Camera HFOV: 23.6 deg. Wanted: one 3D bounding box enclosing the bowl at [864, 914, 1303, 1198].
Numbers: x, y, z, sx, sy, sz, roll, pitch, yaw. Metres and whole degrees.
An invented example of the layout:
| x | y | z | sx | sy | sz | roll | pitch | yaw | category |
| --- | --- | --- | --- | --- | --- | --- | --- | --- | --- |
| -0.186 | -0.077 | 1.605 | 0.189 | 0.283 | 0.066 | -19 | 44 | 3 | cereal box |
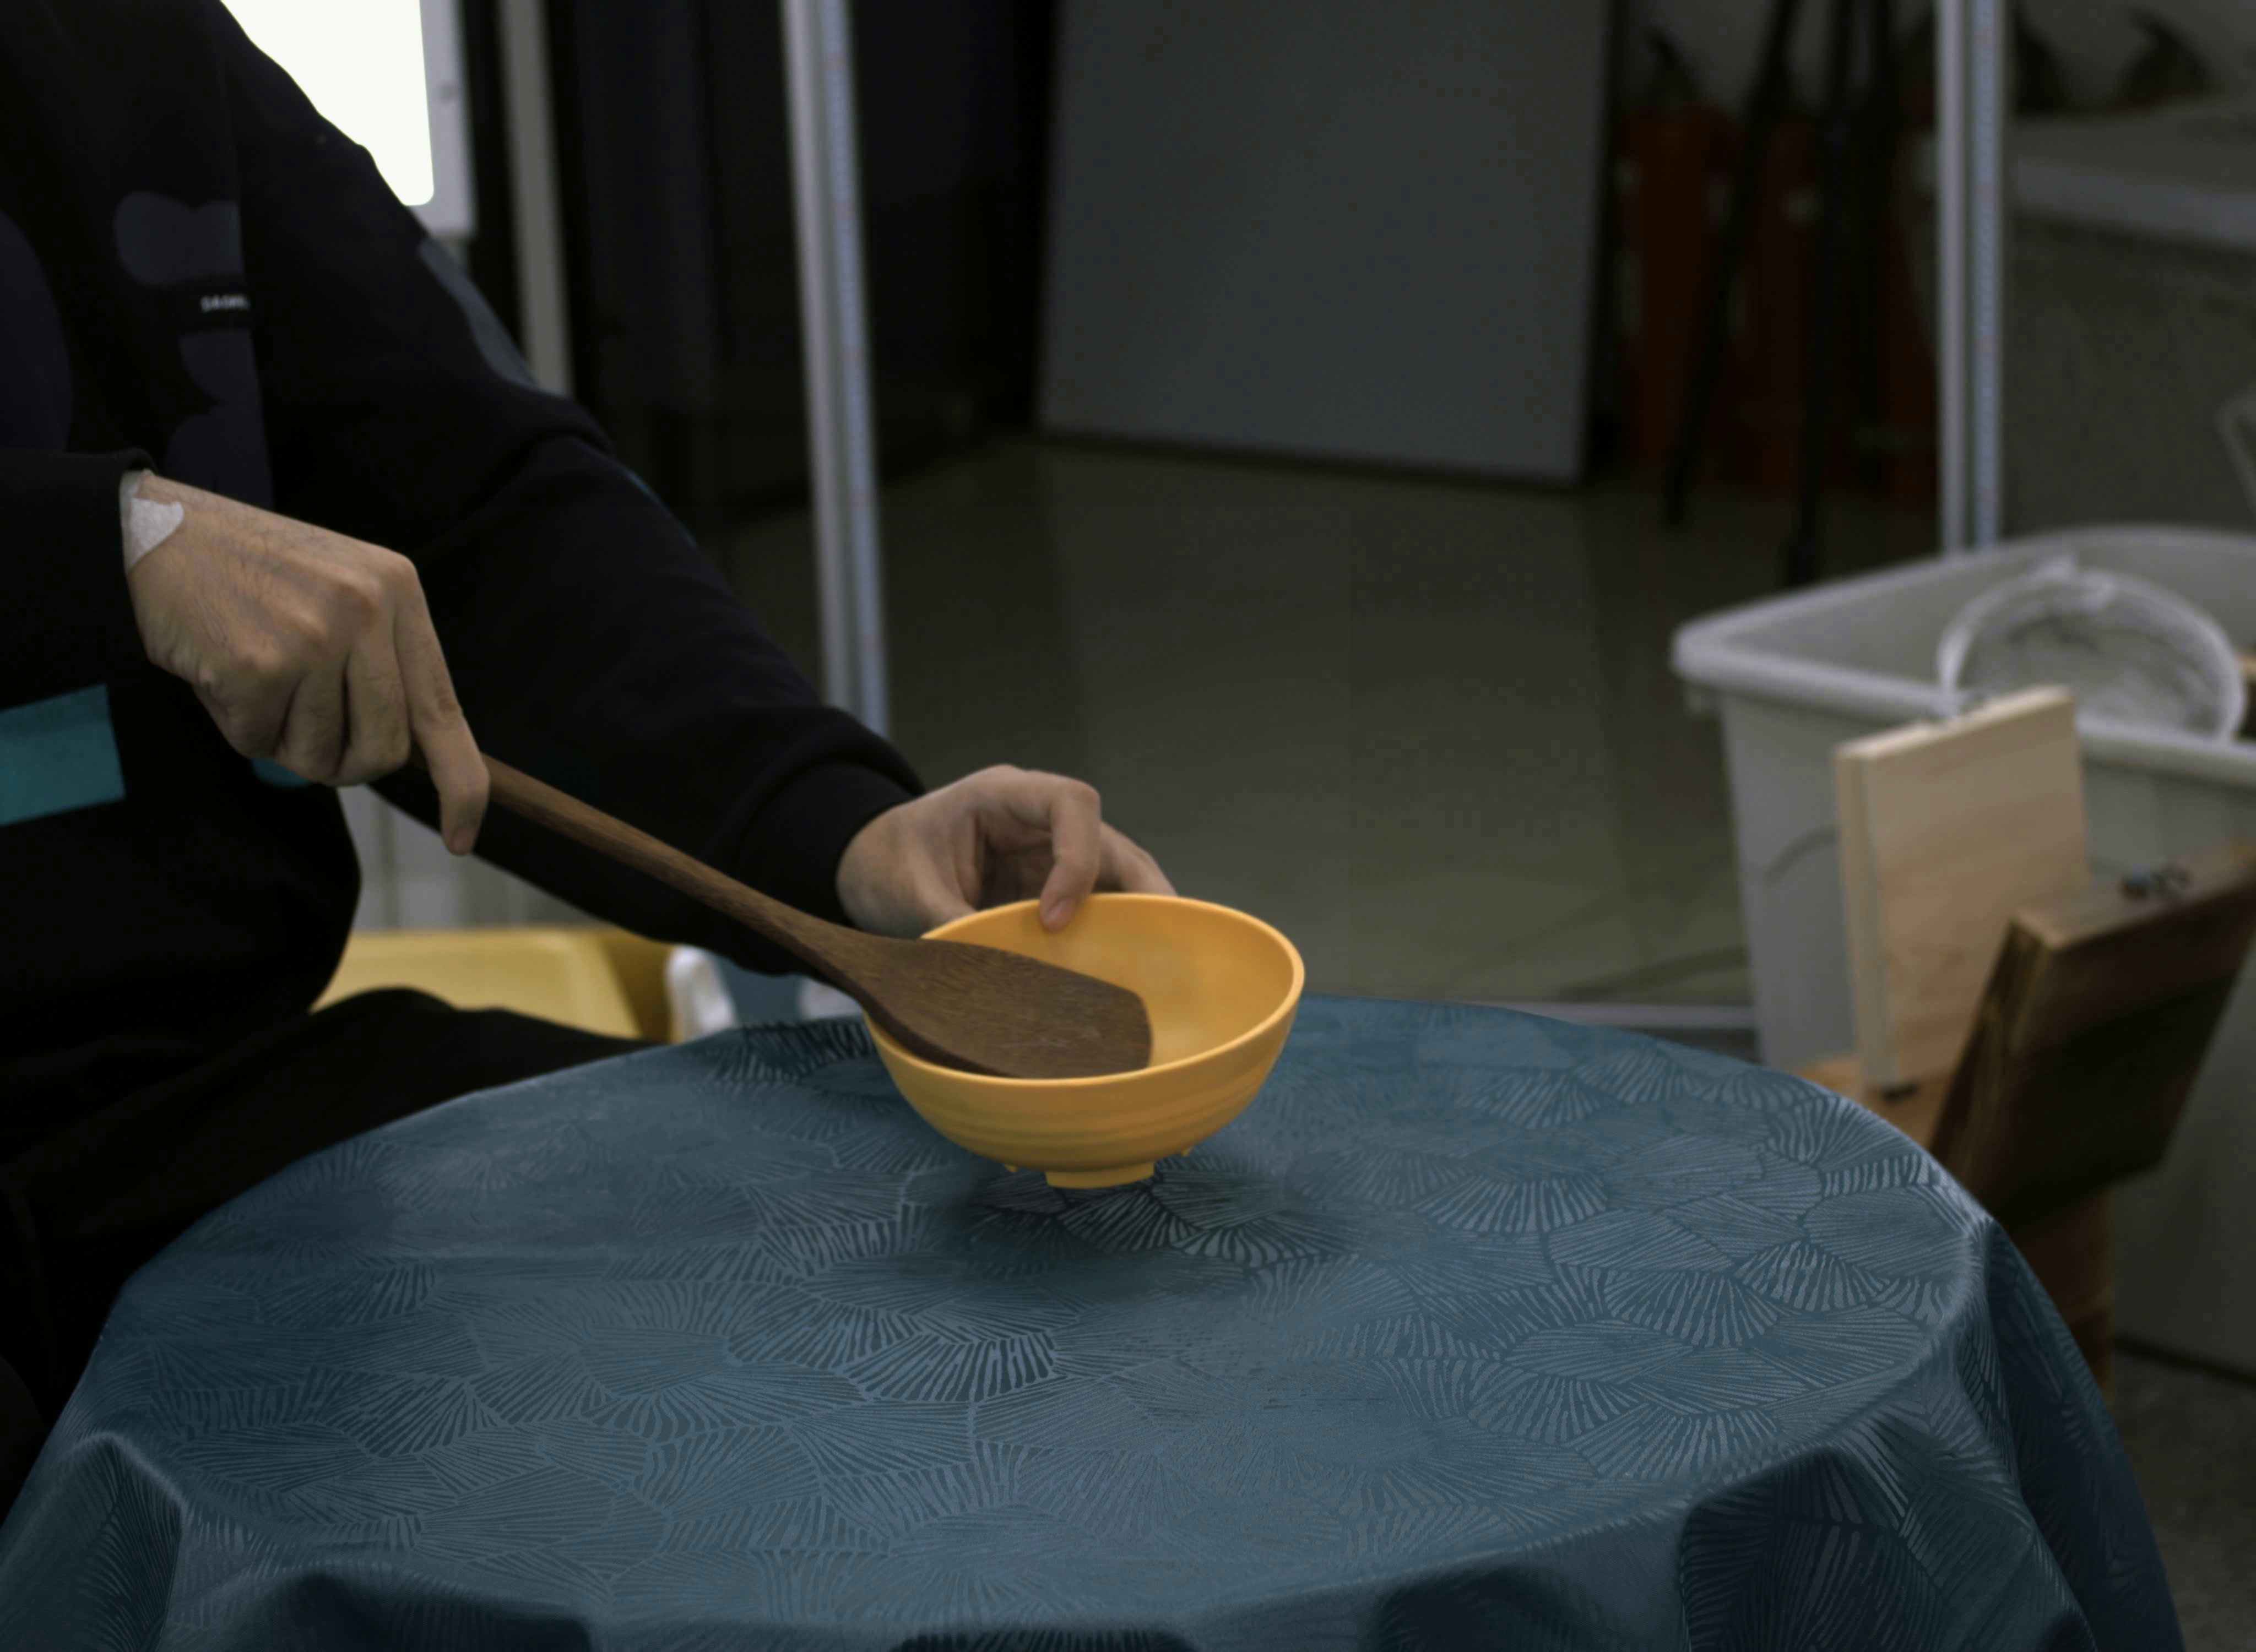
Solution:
| x | y | z | sx | sy | sz | roll | pitch | yaw | category |
| --- | --- | --- | --- | --- | --- | --- | --- | --- | --- |
| -0.013 | 0.081 | 1.752 | 0.143 | 0.060 | 0.146 | -5 | 20 | 1 | bowl |

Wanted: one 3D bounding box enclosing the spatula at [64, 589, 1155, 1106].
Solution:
| x | y | z | sx | sy | sz | roll | pitch | yaw | category |
| --- | --- | --- | --- | --- | --- | --- | --- | --- | --- |
| -0.167 | 0.003 | 1.744 | 0.383 | 0.016 | 0.095 | 25 | 22 | 4 | spatula |
